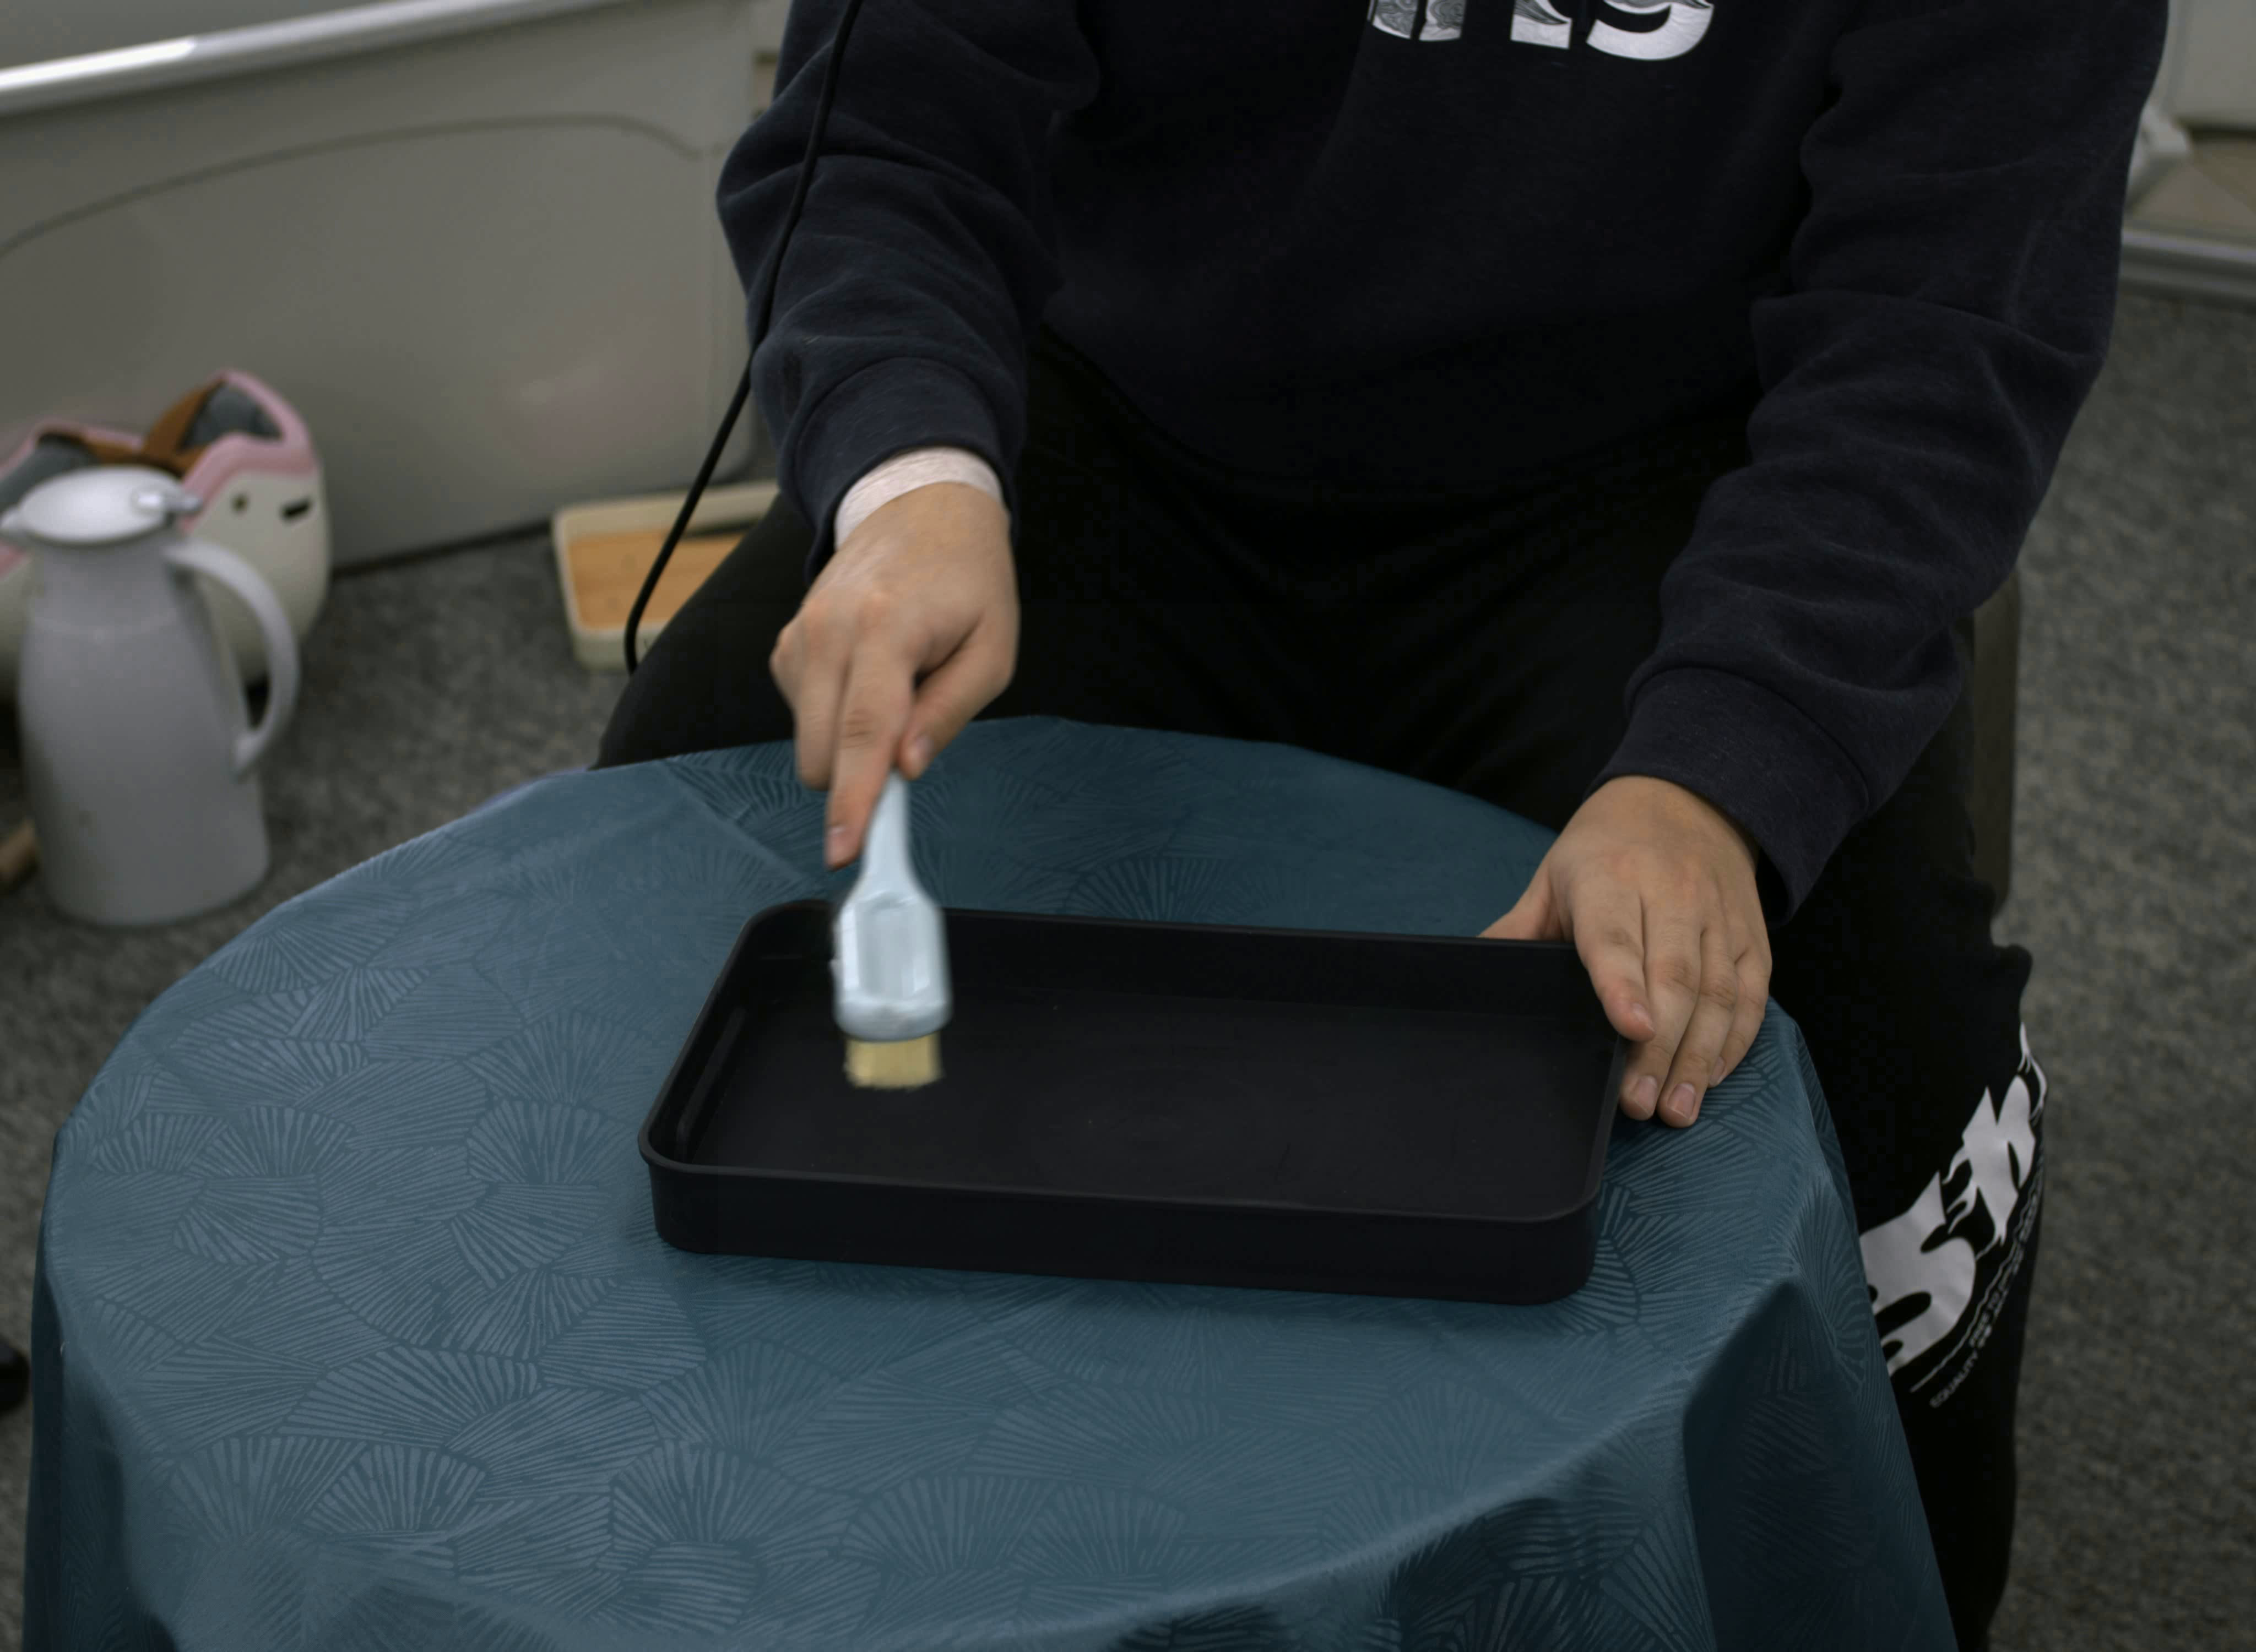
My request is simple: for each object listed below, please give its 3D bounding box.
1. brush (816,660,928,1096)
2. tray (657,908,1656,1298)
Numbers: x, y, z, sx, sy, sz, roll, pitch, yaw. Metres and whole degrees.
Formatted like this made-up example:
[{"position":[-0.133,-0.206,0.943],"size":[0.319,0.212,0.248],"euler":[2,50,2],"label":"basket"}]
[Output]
[{"position":[-0.091,0.013,1.922],"size":[0.037,0.049,0.233],"euler":[0,37,-6],"label":"brush"},{"position":[0.014,0.091,1.885],"size":[0.316,0.036,0.187],"euler":[2,27,9],"label":"tray"}]
